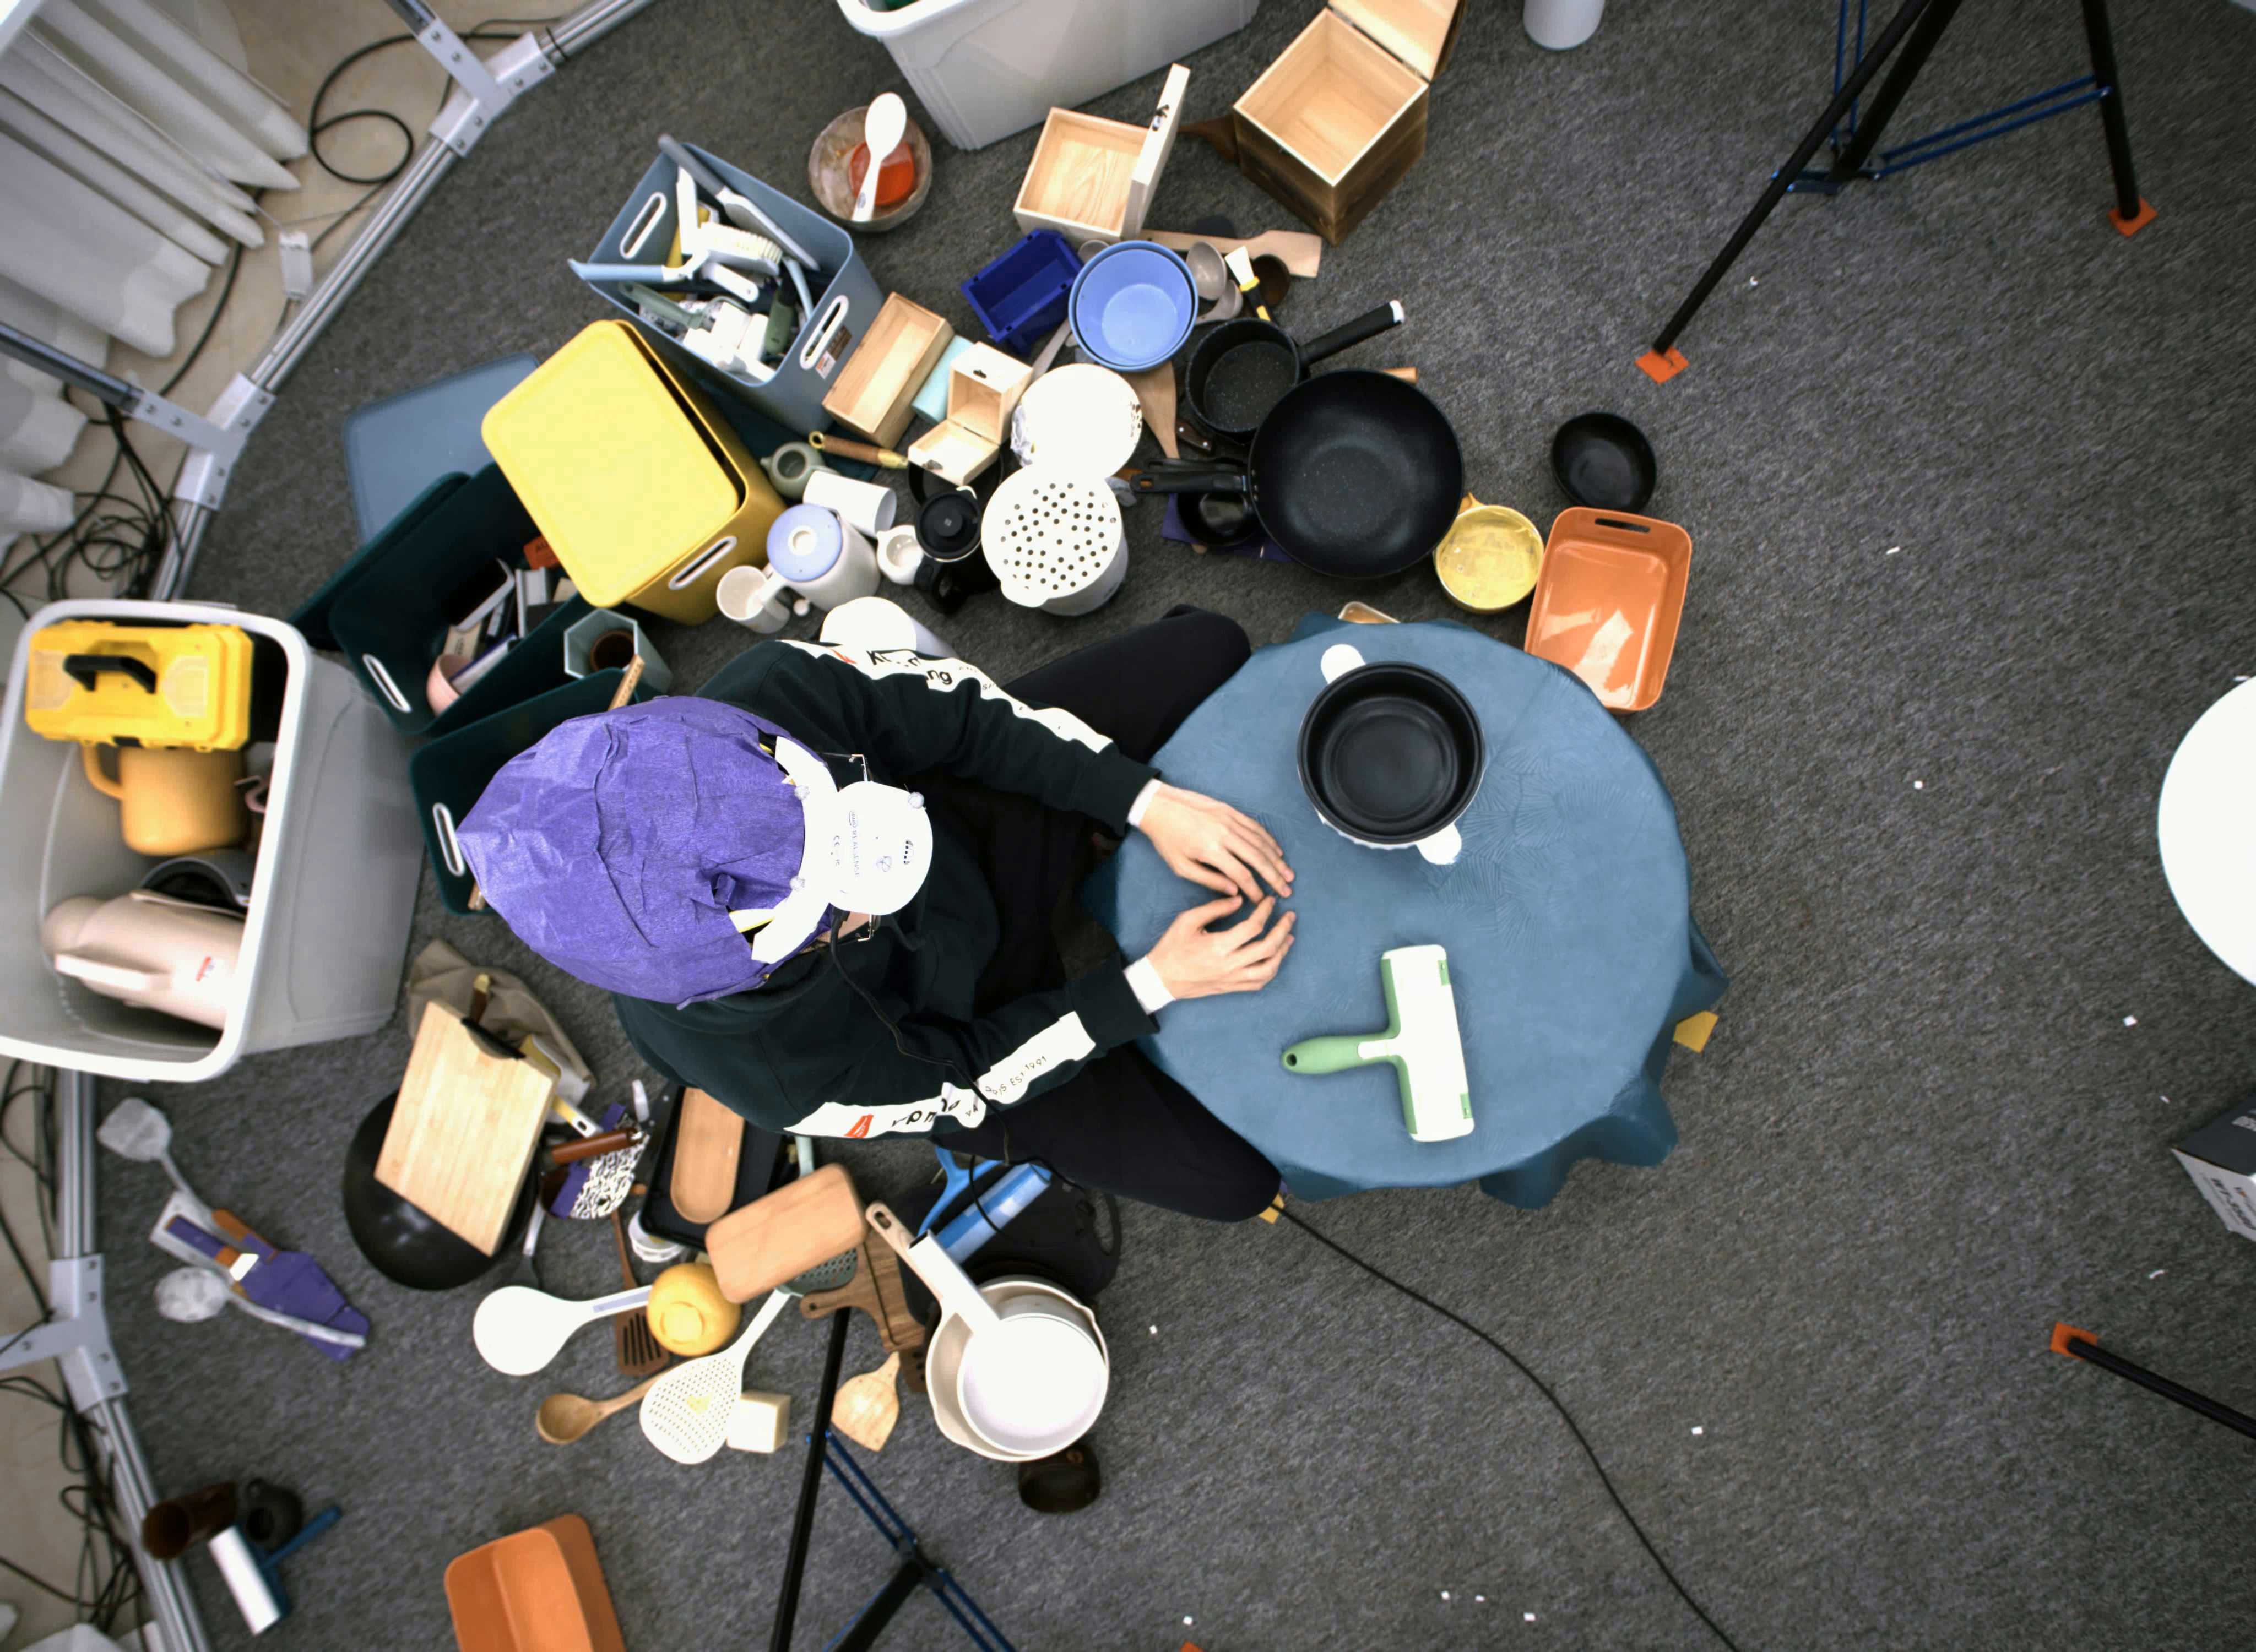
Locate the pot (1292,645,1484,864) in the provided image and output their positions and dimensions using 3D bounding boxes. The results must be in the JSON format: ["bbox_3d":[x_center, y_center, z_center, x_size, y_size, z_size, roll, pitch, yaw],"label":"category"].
[{"bbox_3d":[0.267,-0.070,1.393,0.192,0.142,0.239,-29,83,10],"label":"pot"}]

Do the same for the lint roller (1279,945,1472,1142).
[{"bbox_3d":[0.246,0.228,1.414,0.184,0.082,0.197,-8,86,4],"label":"lint roller"}]
